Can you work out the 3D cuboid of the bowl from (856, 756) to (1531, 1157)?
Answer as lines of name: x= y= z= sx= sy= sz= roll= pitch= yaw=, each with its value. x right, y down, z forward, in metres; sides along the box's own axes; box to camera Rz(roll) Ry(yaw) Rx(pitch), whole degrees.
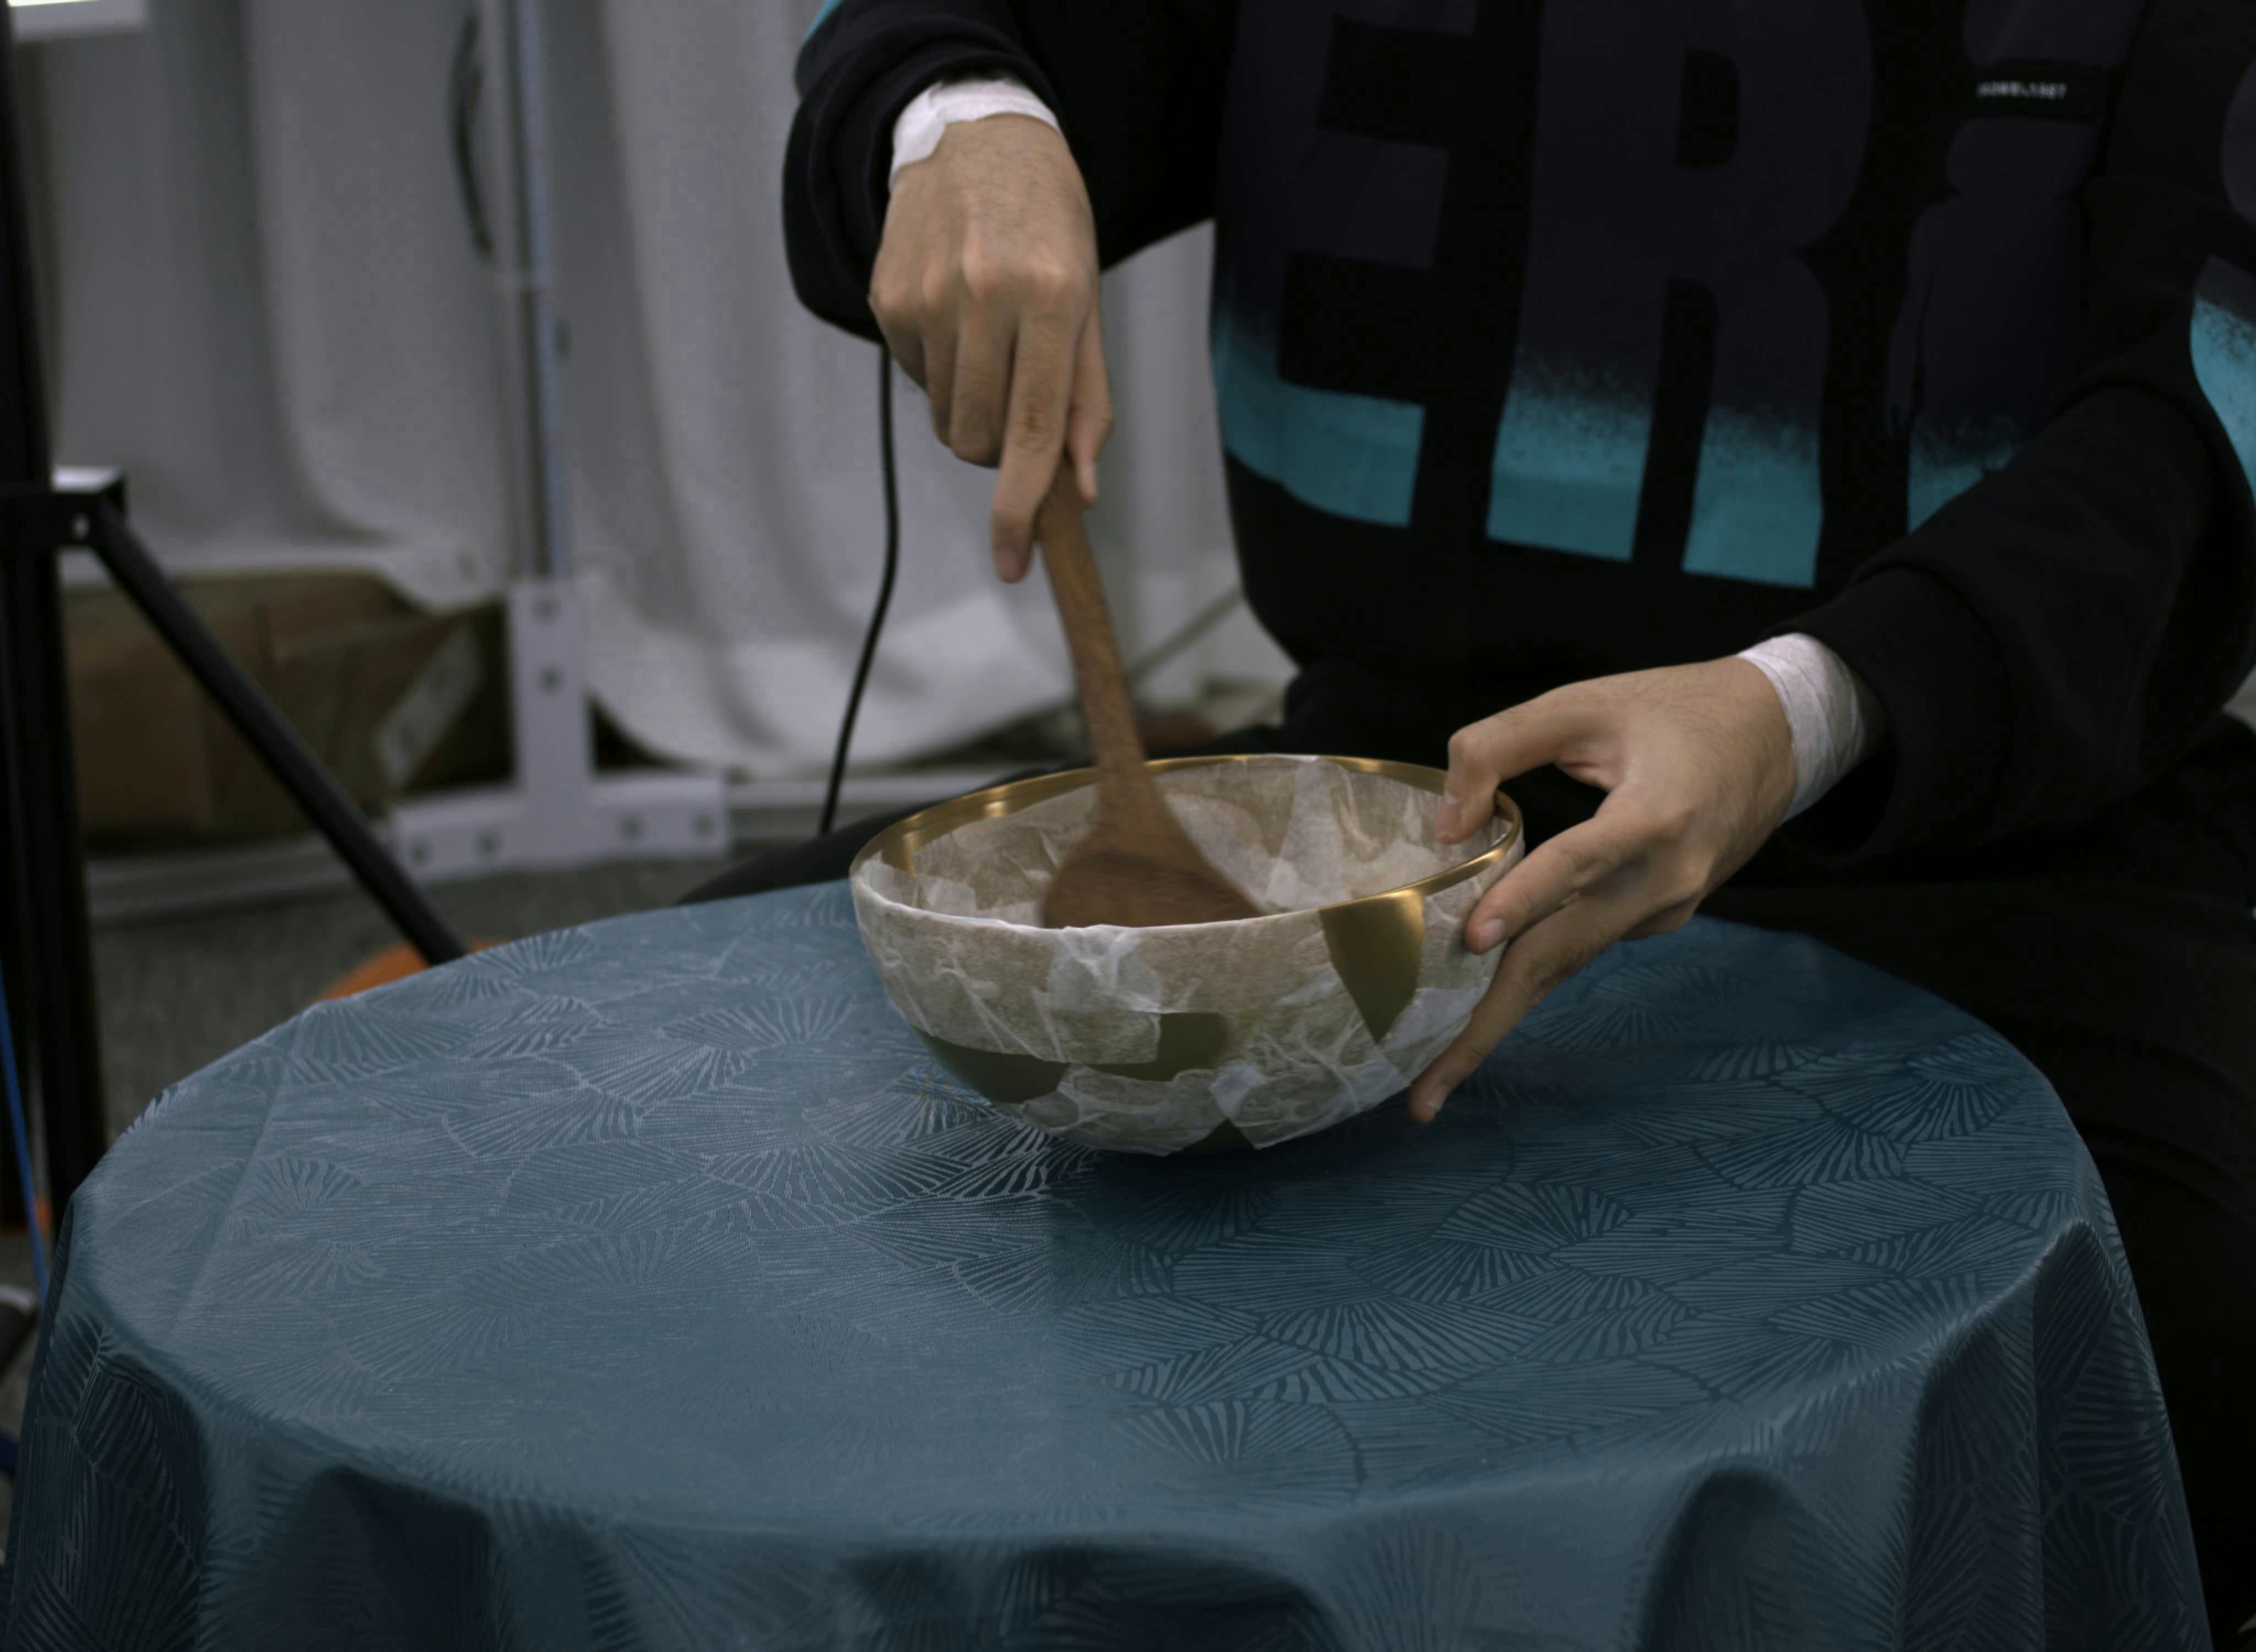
bowl: x=0.025 y=0.046 z=1.594 sx=0.213 sy=0.094 sz=0.215 roll=-5 pitch=12 yaw=0

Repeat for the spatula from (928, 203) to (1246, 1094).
spatula: x=-0.018 y=-0.066 z=1.651 sx=0.094 sy=0.016 sz=0.392 roll=14 pitch=41 yaw=-29
